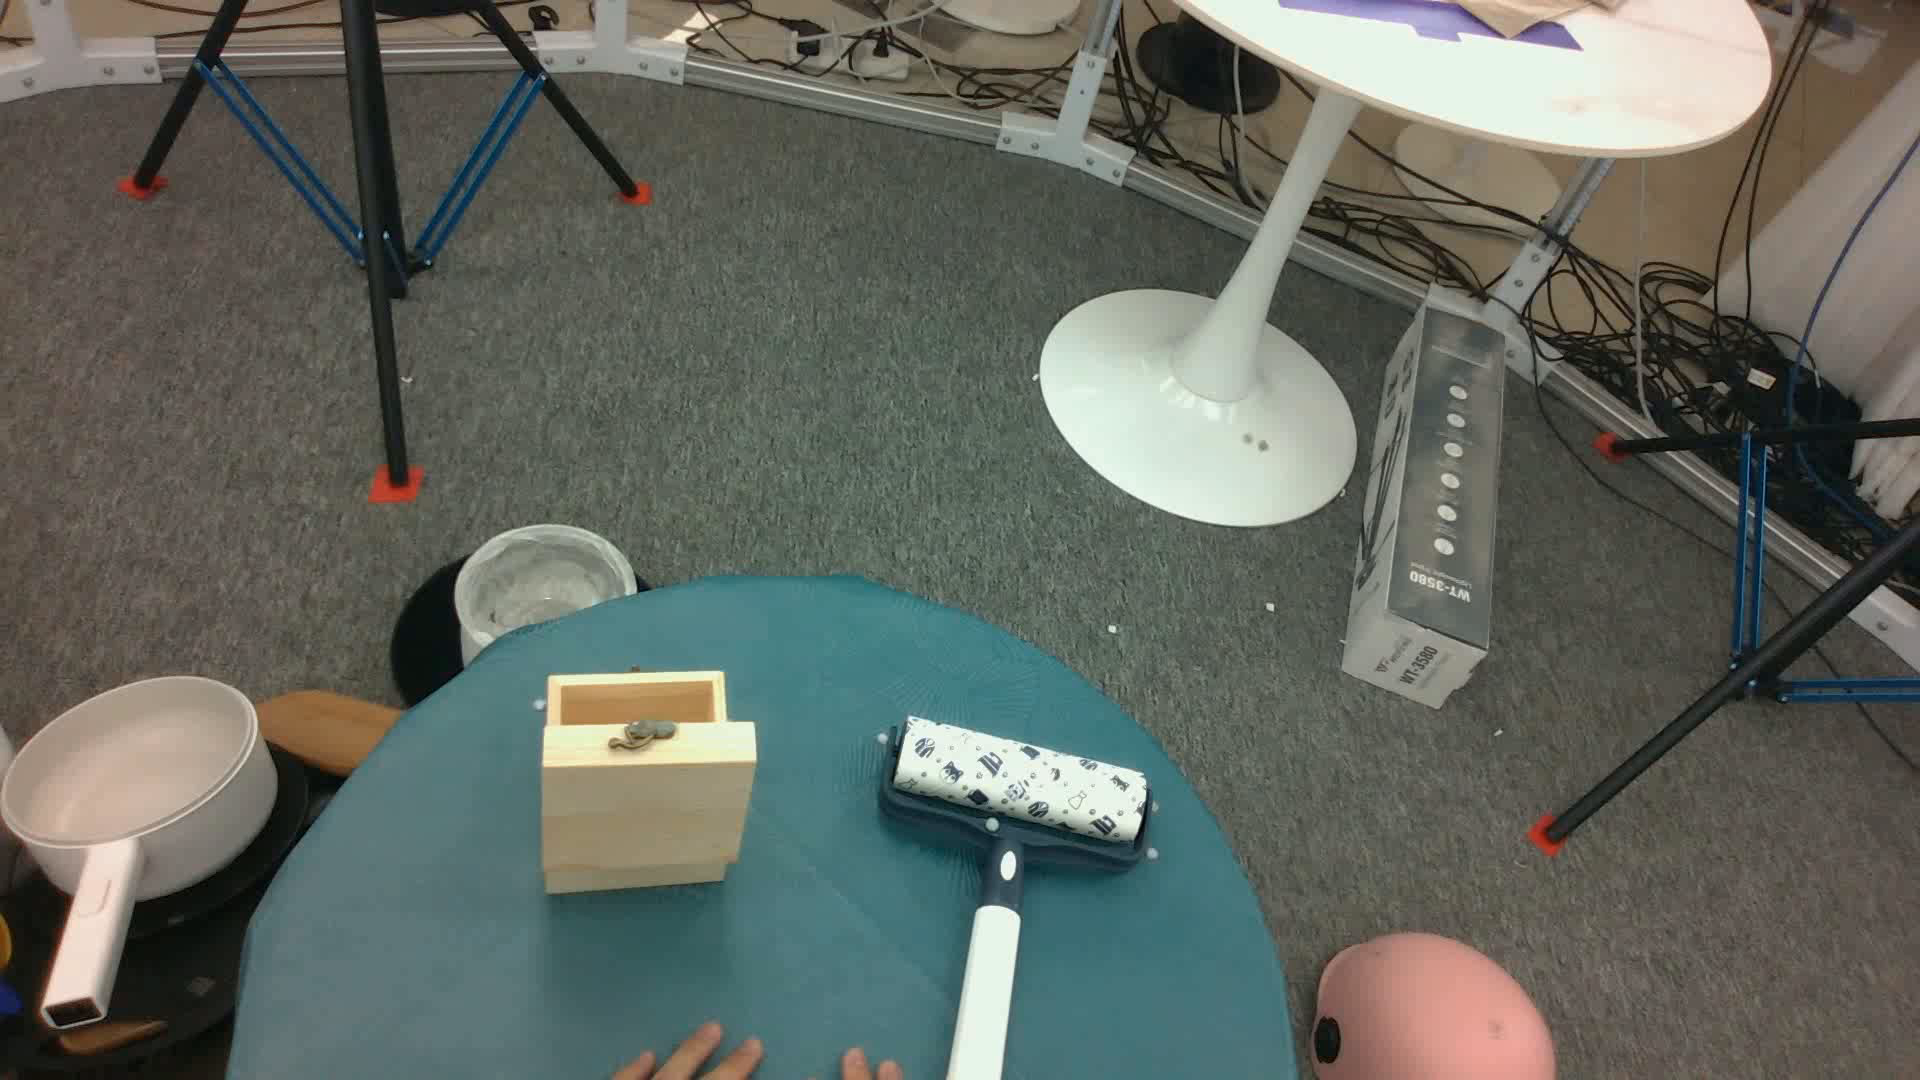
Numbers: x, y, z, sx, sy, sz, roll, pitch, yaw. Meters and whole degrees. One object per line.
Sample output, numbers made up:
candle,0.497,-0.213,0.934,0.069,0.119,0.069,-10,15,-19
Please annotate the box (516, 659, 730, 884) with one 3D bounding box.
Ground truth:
box,-0.190,0.111,0.764,0.103,0.183,0.134,0,51,-17

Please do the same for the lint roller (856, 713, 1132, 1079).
lint roller,0.011,0.228,0.821,0.176,0.050,0.248,15,49,-6
